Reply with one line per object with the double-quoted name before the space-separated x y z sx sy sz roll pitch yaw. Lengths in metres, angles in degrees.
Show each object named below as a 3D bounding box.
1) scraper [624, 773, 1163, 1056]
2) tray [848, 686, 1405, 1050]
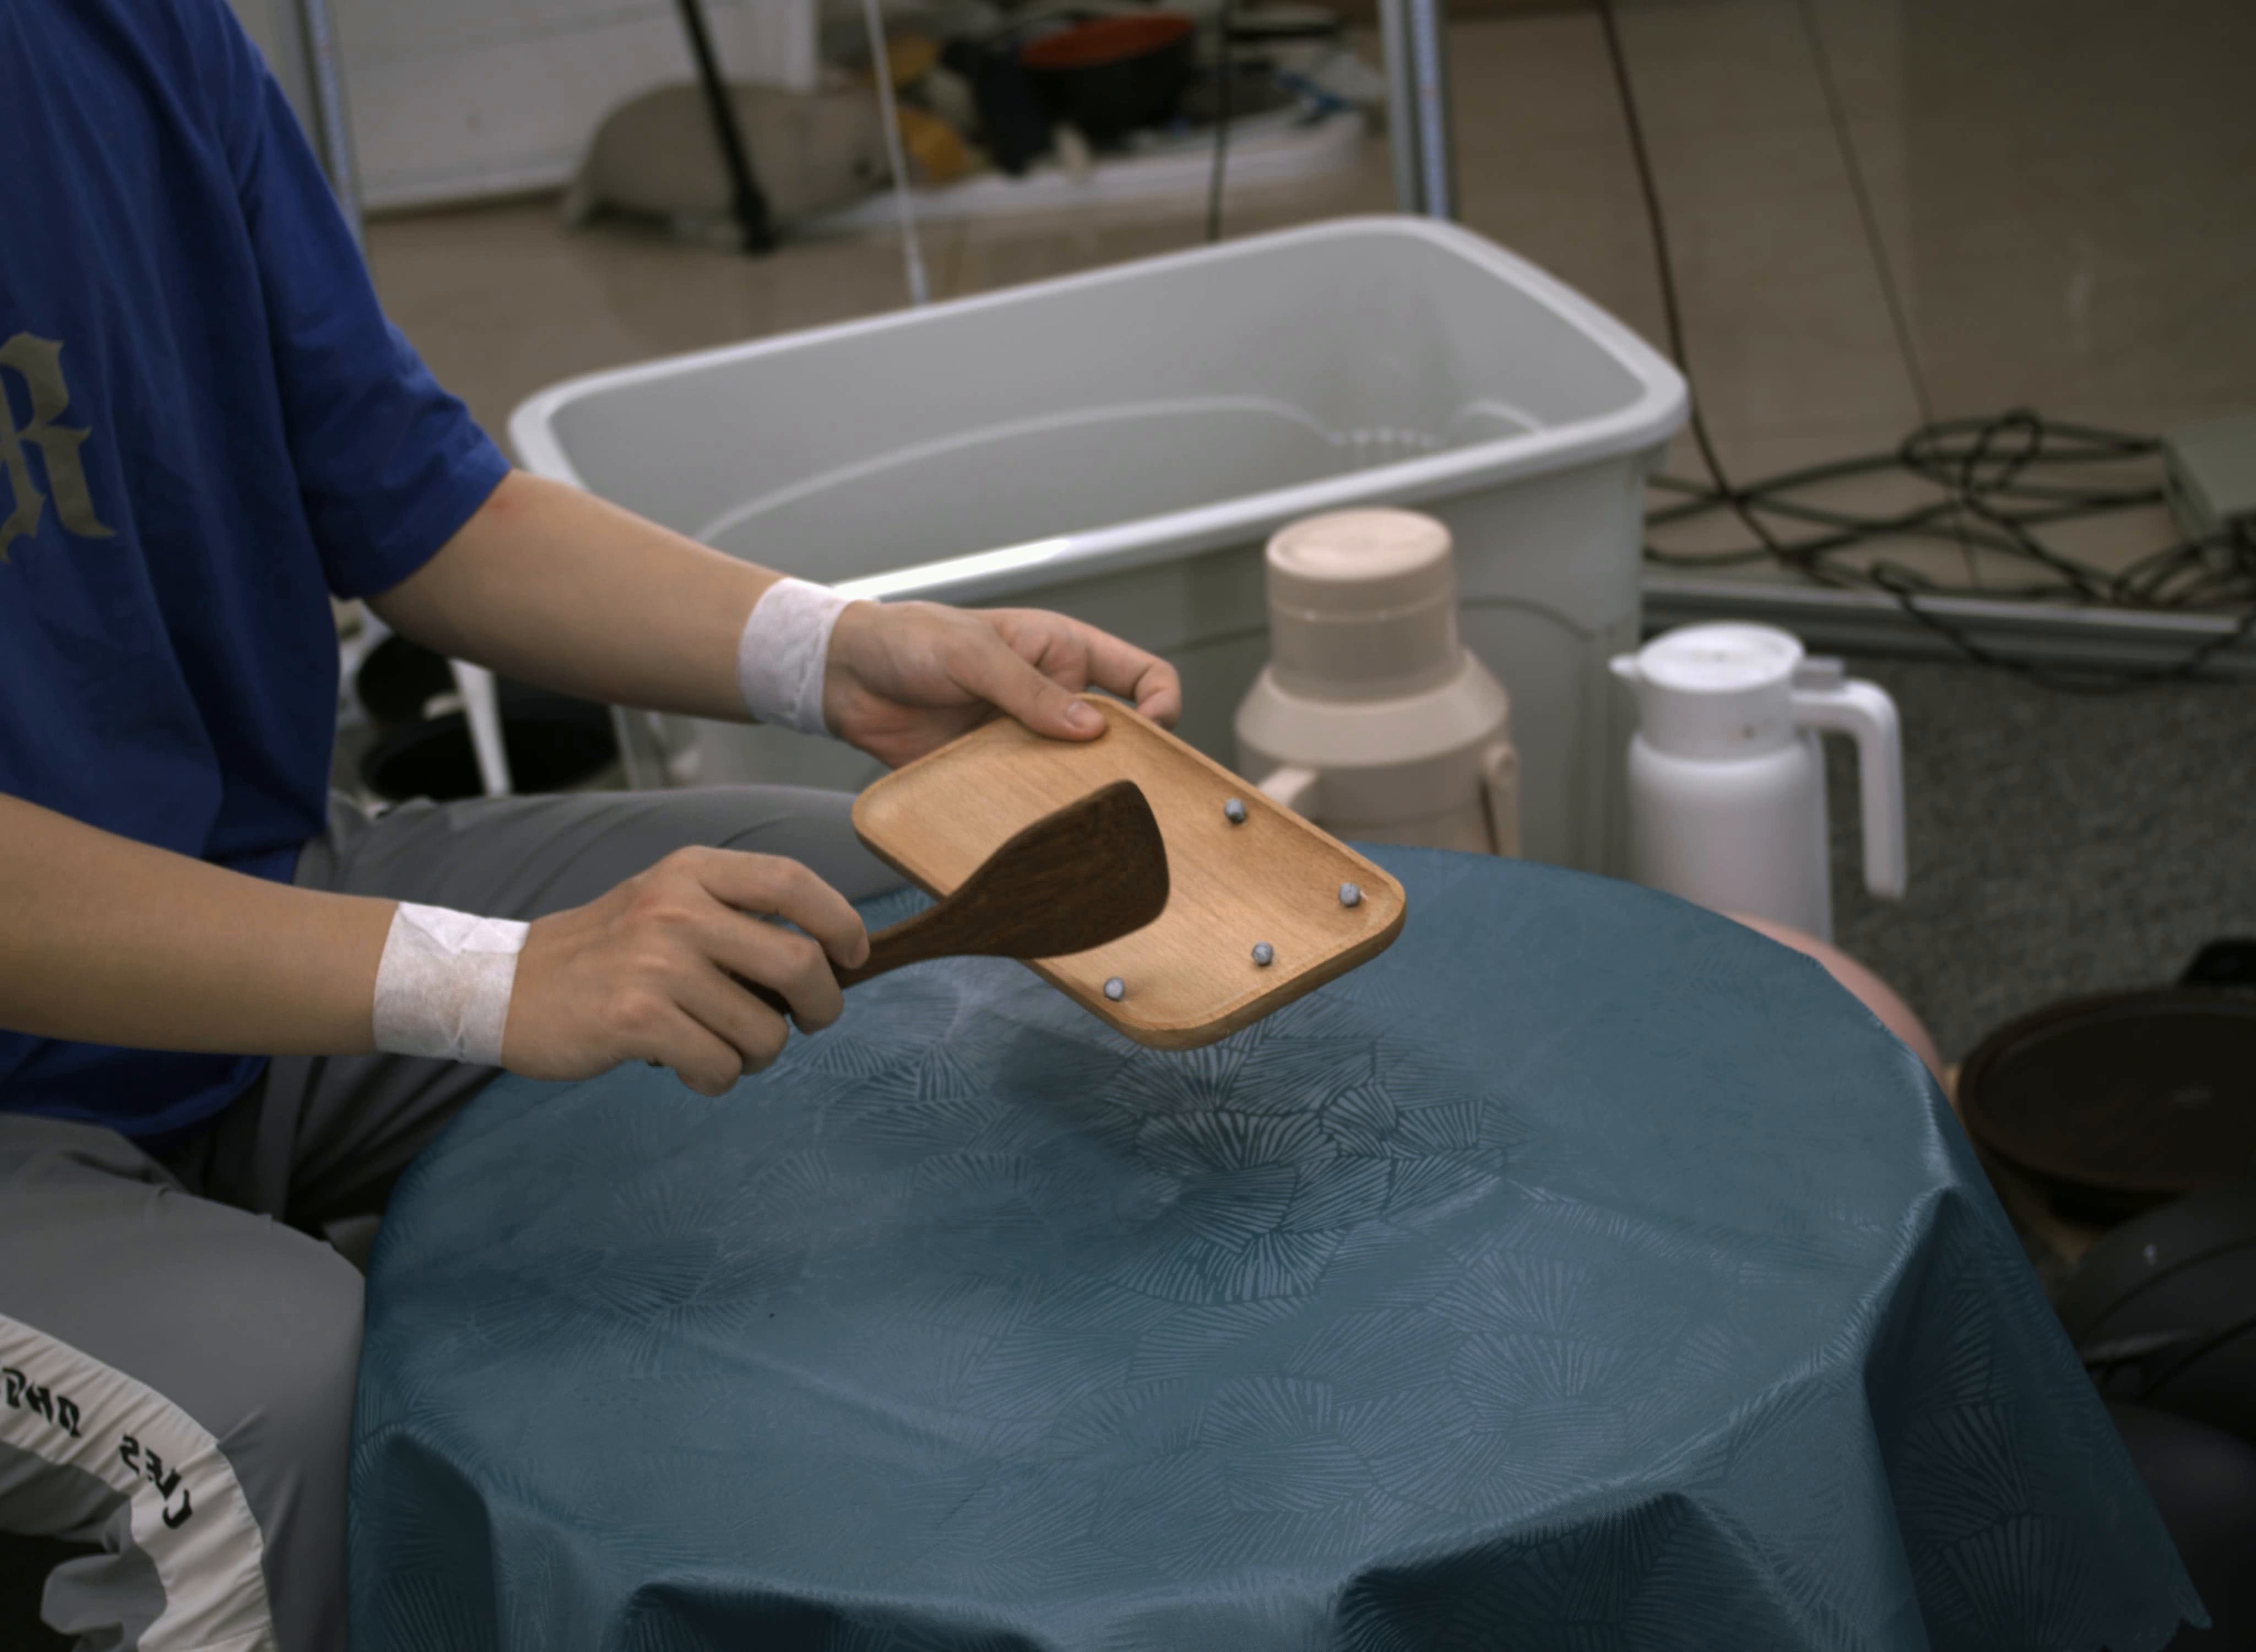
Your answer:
"scraper" -0.087 0.041 2.112 0.211 0.077 0.010 -20 45 -3
"tray" -0.003 0.014 2.205 0.130 0.023 0.248 -25 34 -23
